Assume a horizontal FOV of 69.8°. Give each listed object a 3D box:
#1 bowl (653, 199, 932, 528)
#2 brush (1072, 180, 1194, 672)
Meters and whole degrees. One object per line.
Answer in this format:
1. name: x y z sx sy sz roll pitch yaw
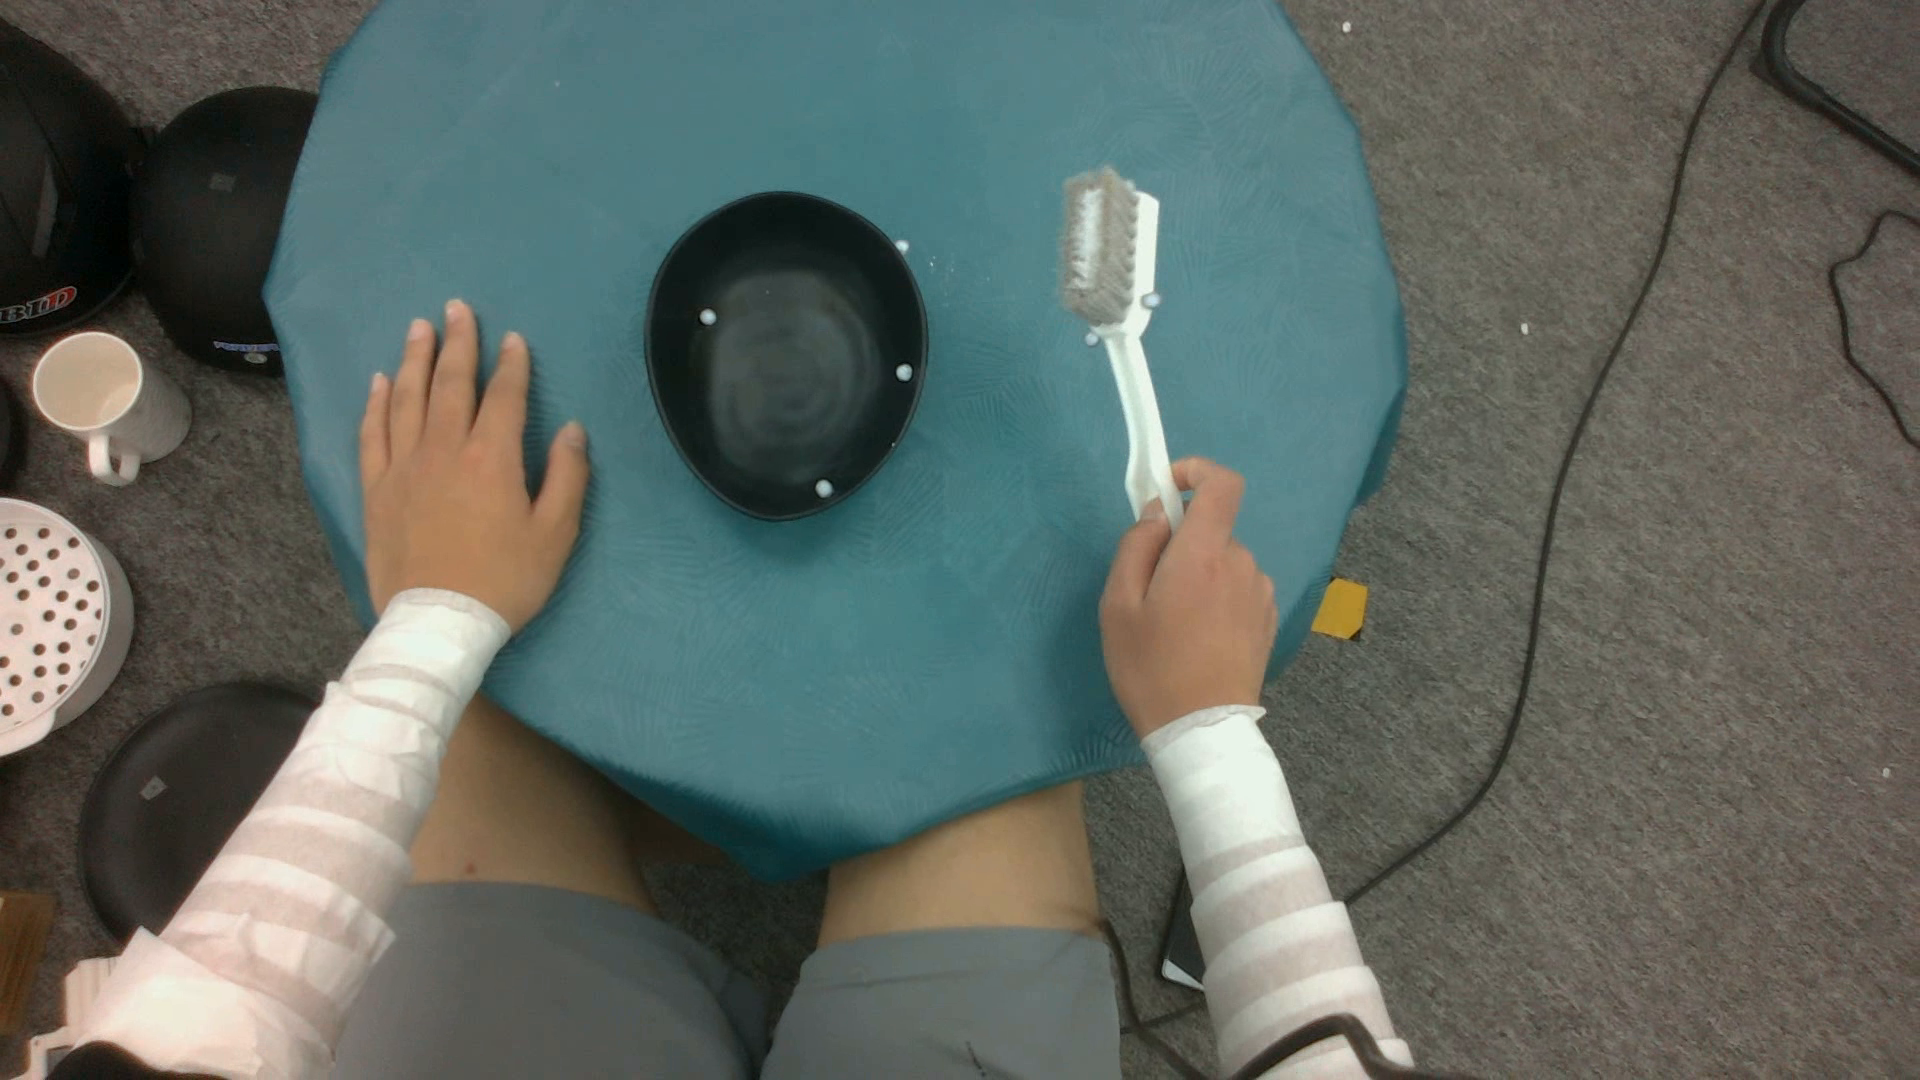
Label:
1. bowl: -0.085 -0.086 0.710 0.137 0.066 0.170 1 78 -6
2. brush: 0.085 -0.049 0.666 0.050 0.034 0.243 -16 104 -47
